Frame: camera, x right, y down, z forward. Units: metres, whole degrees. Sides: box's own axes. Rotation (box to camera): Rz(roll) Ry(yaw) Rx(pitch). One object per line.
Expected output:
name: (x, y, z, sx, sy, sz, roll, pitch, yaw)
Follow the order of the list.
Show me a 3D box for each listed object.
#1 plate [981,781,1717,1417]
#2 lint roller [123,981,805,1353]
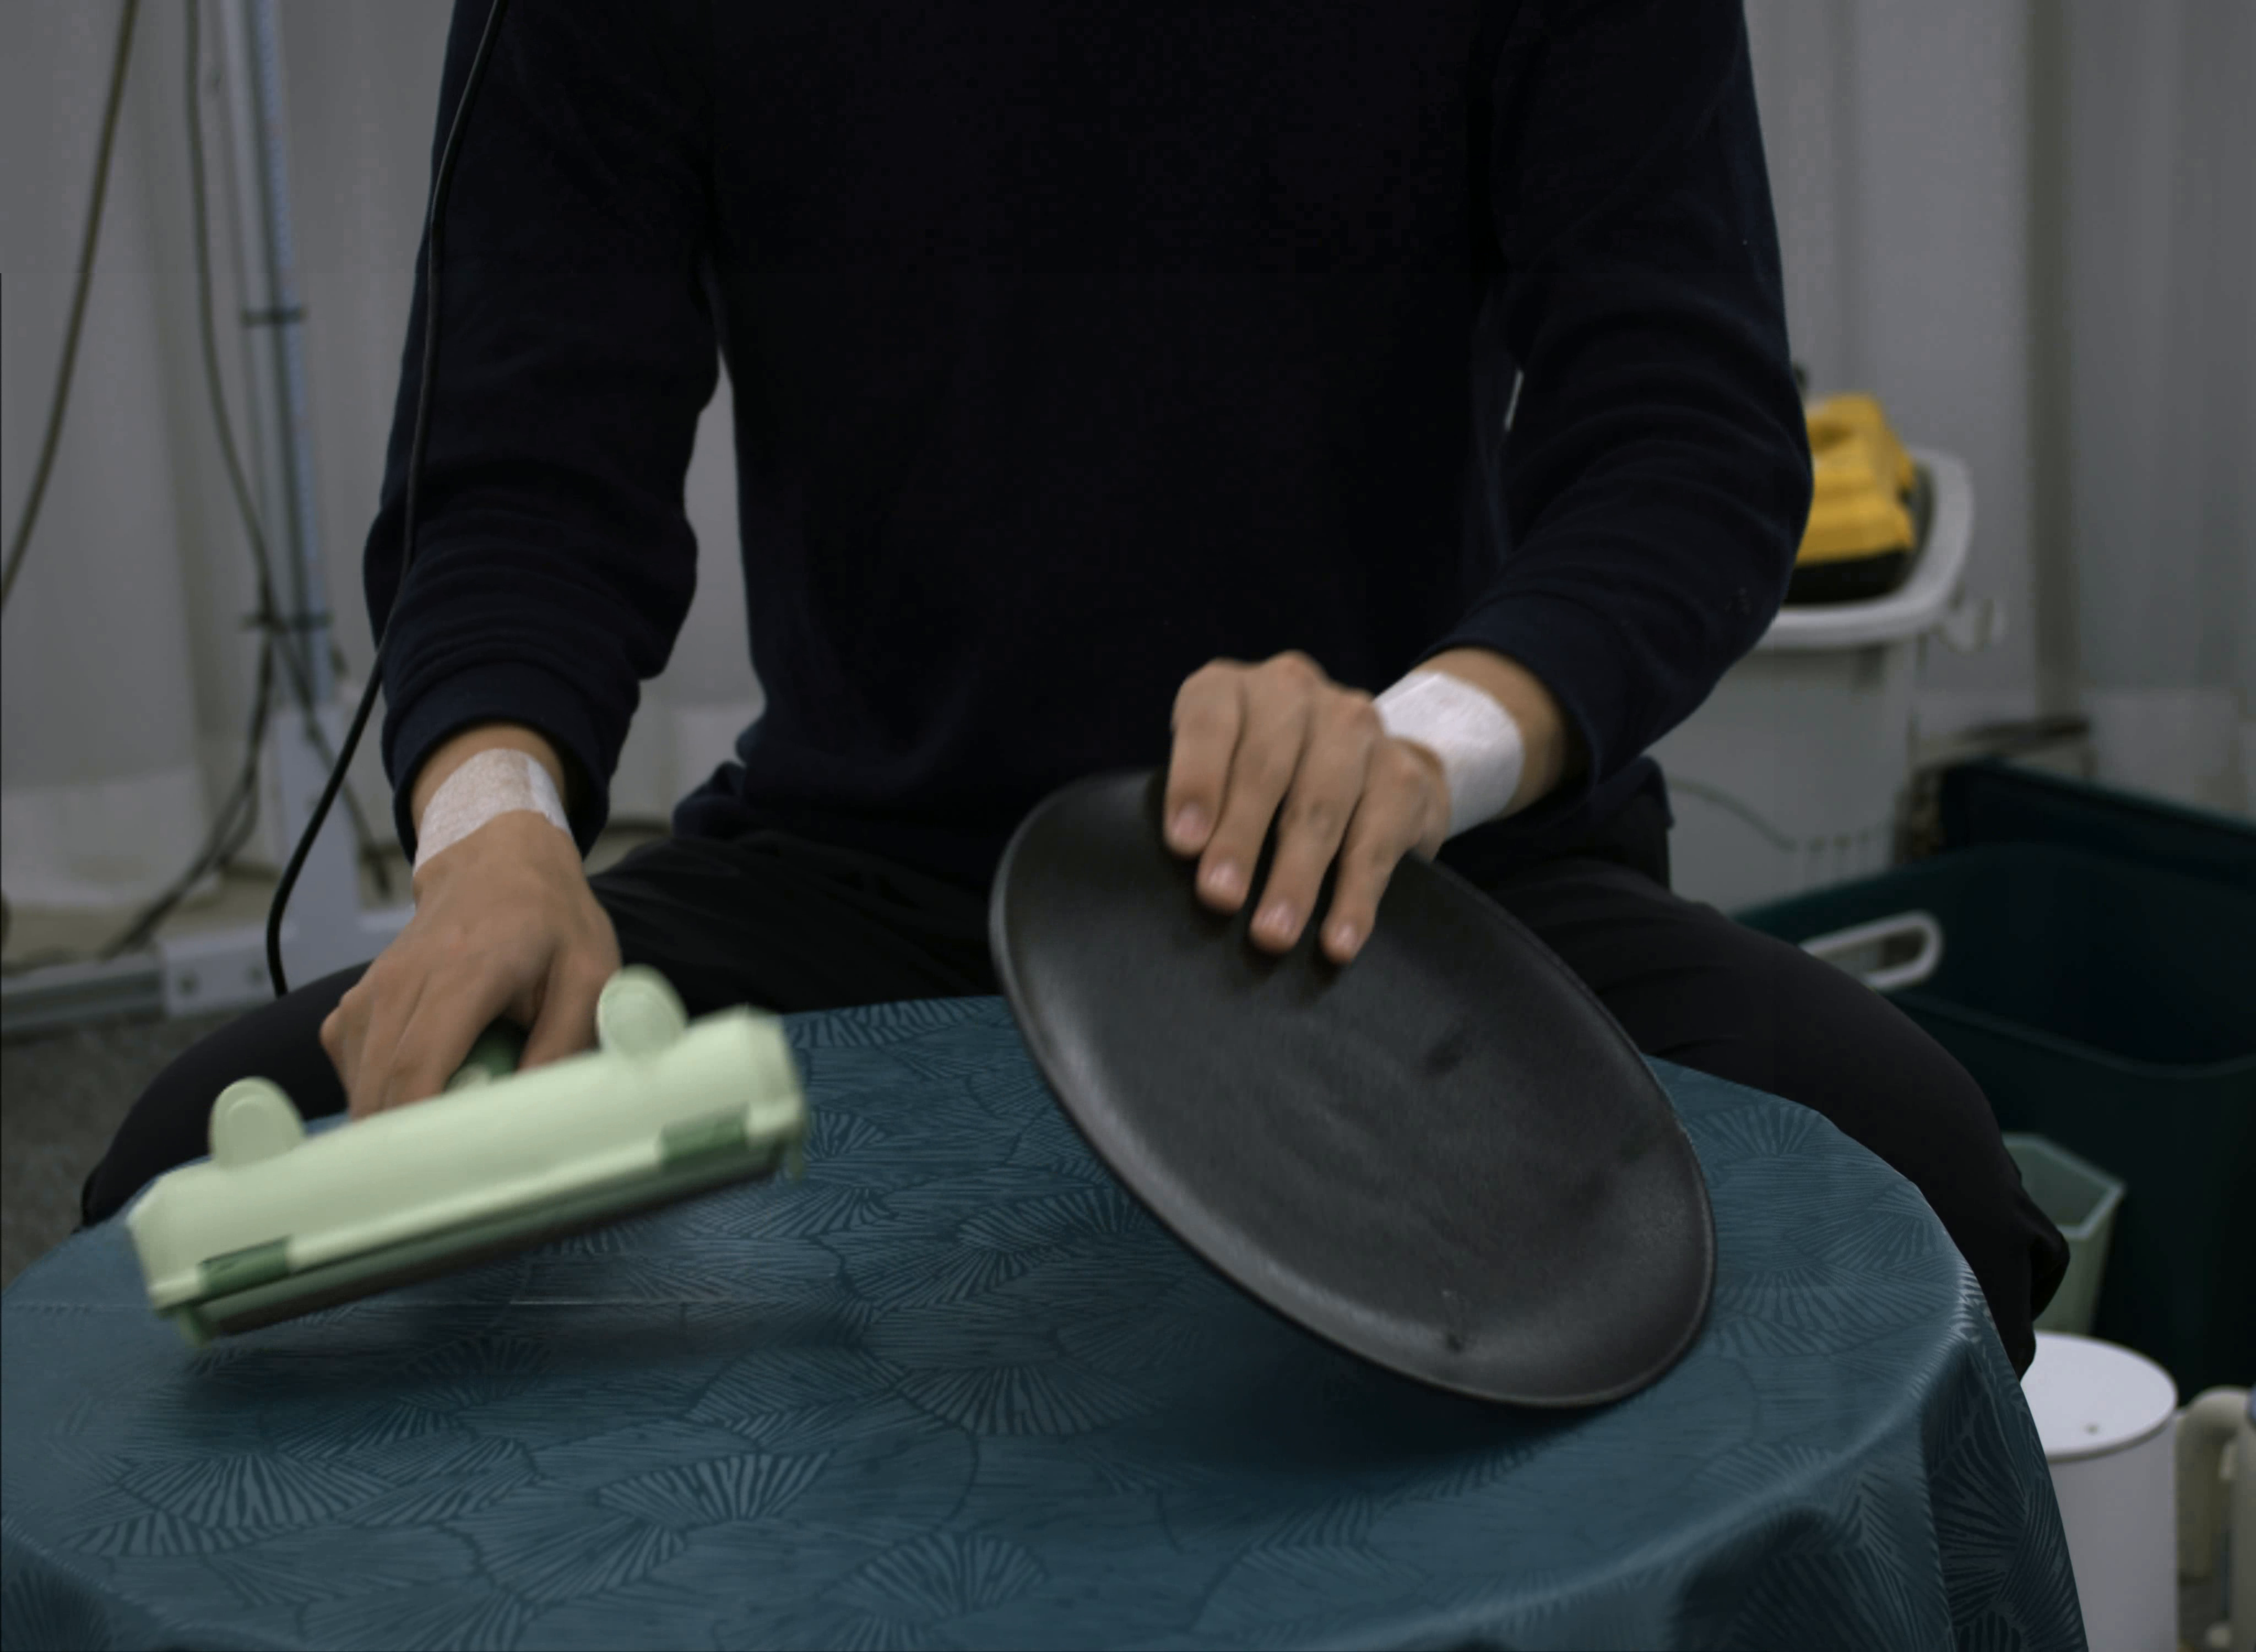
plate: (0.061, 0.080, 1.566, 0.242, 0.023, 0.248, 24, 33, -17)
lint roller: (-0.205, 0.074, 1.645, 0.198, 0.081, 0.186, -14, 30, -4)
